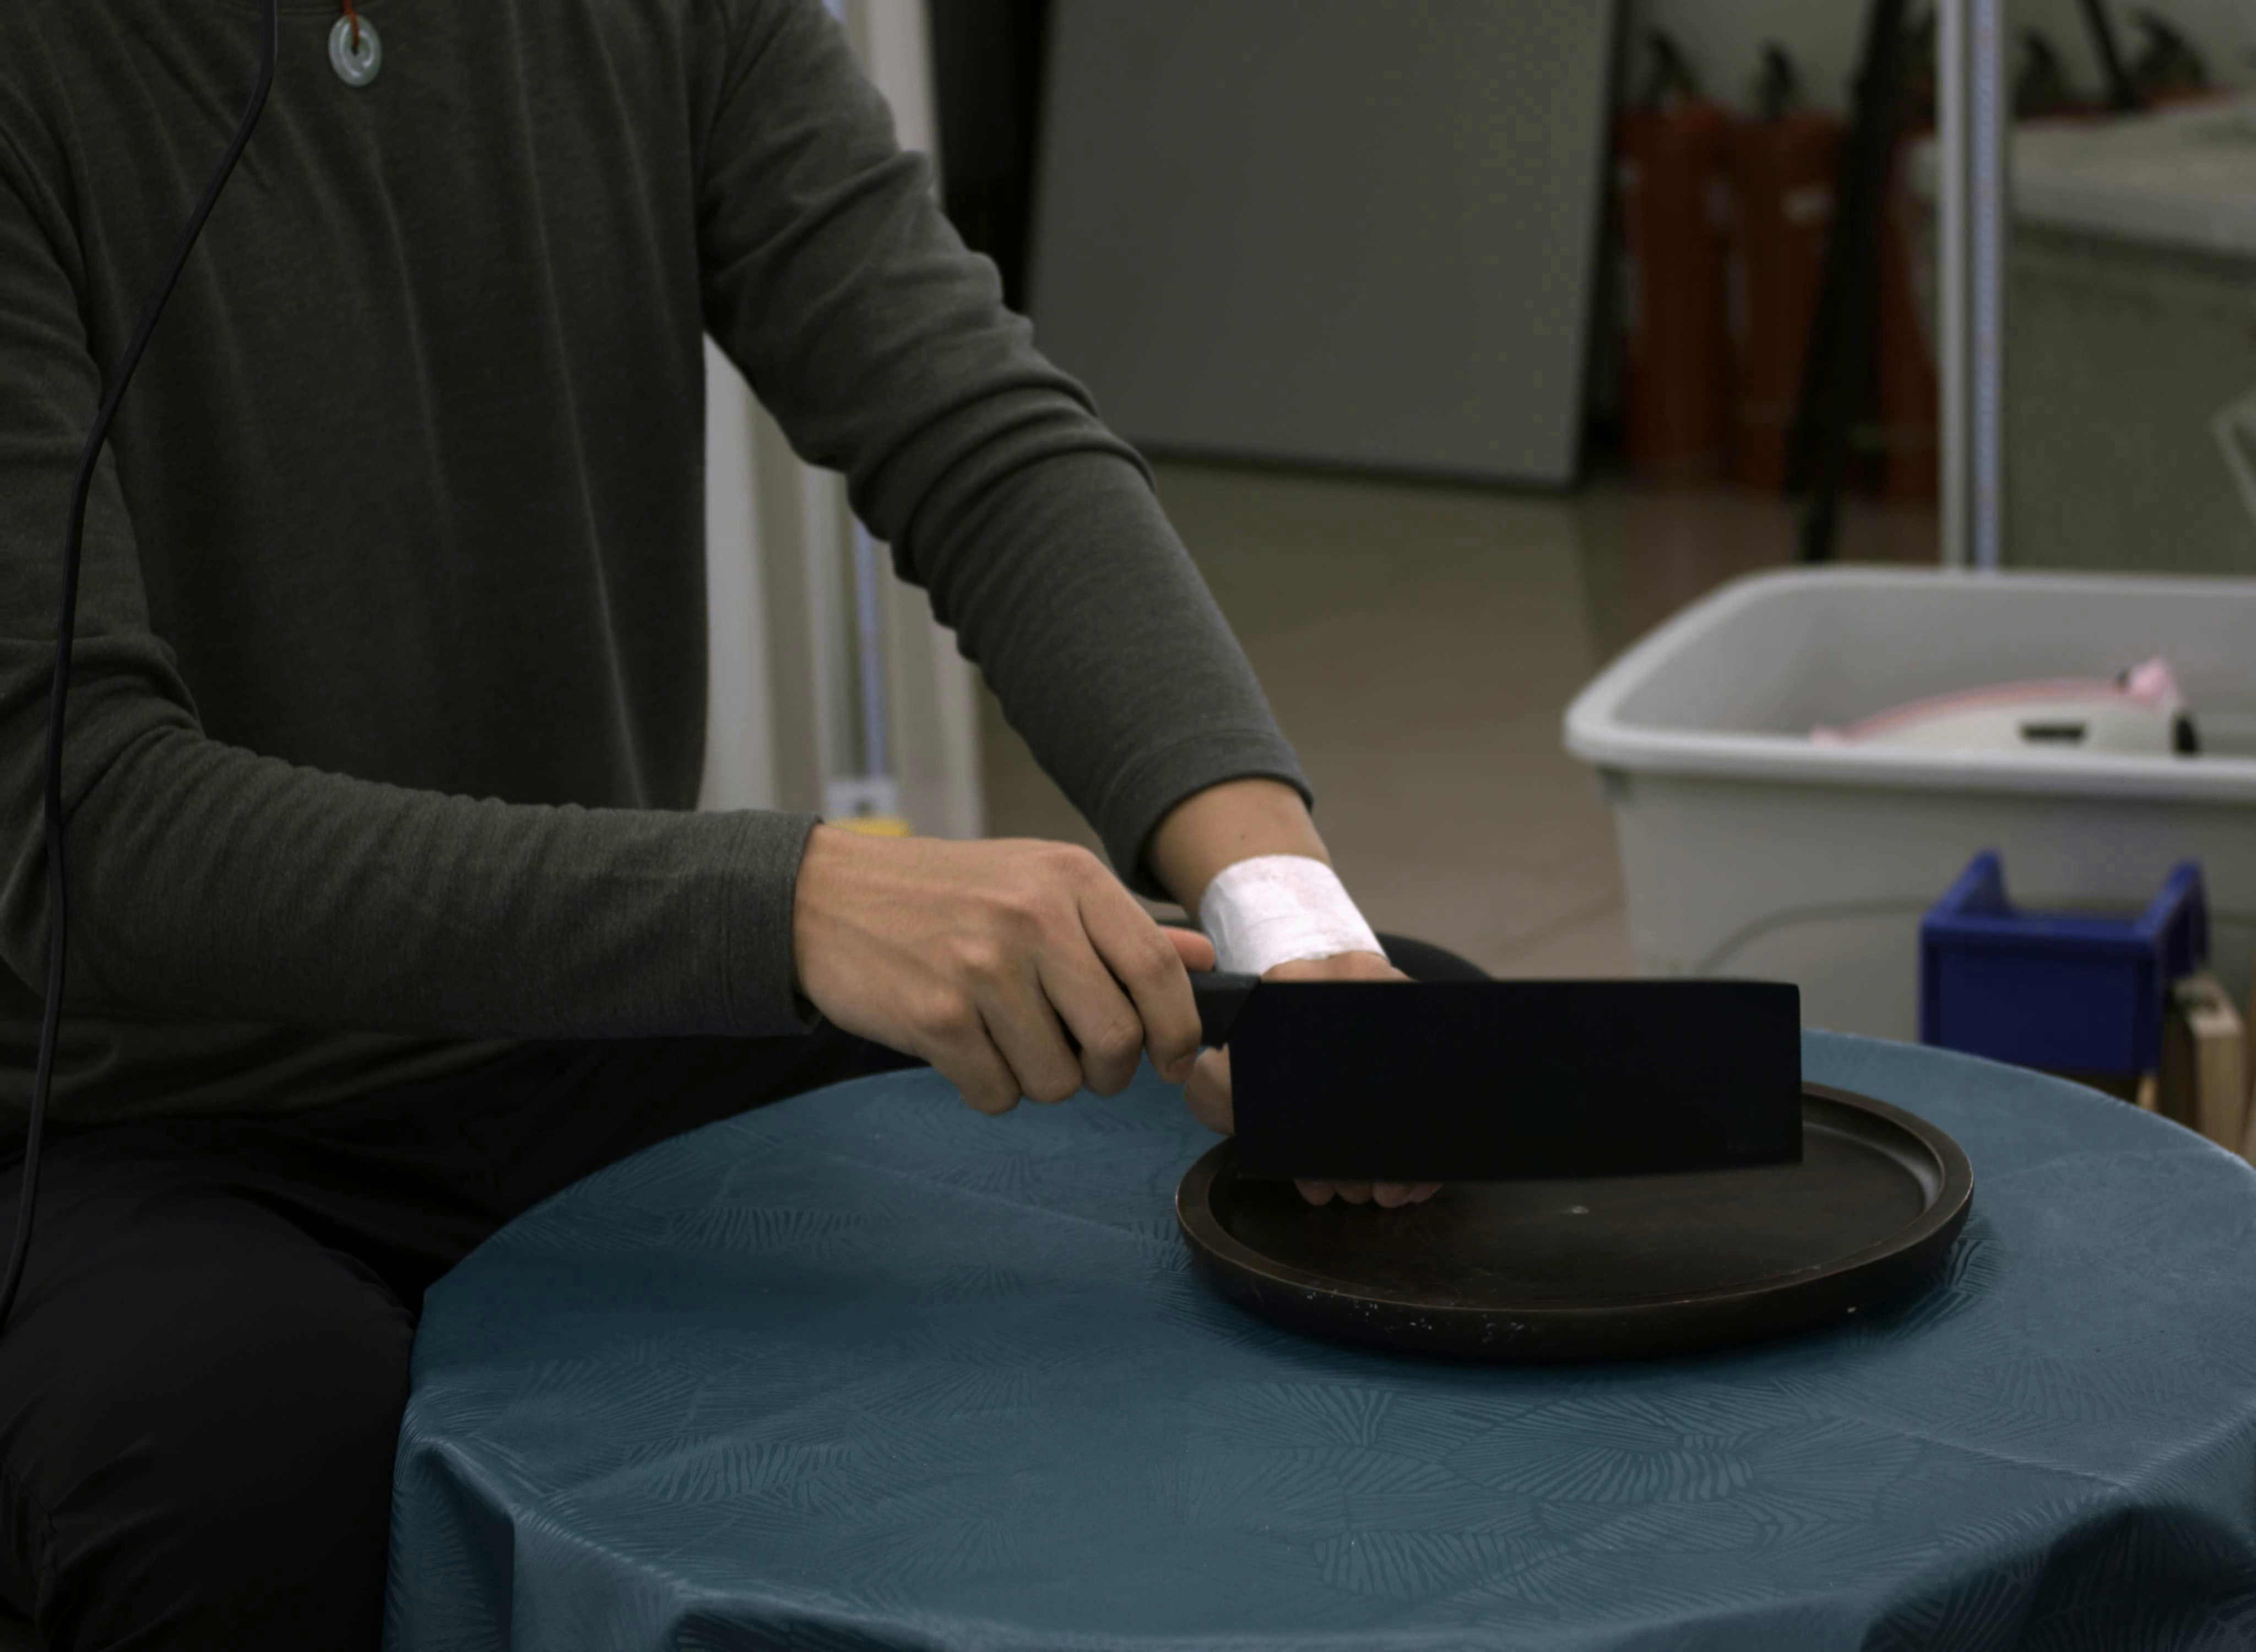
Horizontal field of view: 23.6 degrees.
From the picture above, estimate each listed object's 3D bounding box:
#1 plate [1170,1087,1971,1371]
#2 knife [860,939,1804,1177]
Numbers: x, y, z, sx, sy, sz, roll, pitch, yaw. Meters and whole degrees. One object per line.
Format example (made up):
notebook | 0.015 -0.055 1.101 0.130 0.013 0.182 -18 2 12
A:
plate | 0.138 0.121 1.688 0.251 0.029 0.255 -5 14 0
knife | 0.062 0.071 1.678 0.300 0.082 0.021 3 12 13
